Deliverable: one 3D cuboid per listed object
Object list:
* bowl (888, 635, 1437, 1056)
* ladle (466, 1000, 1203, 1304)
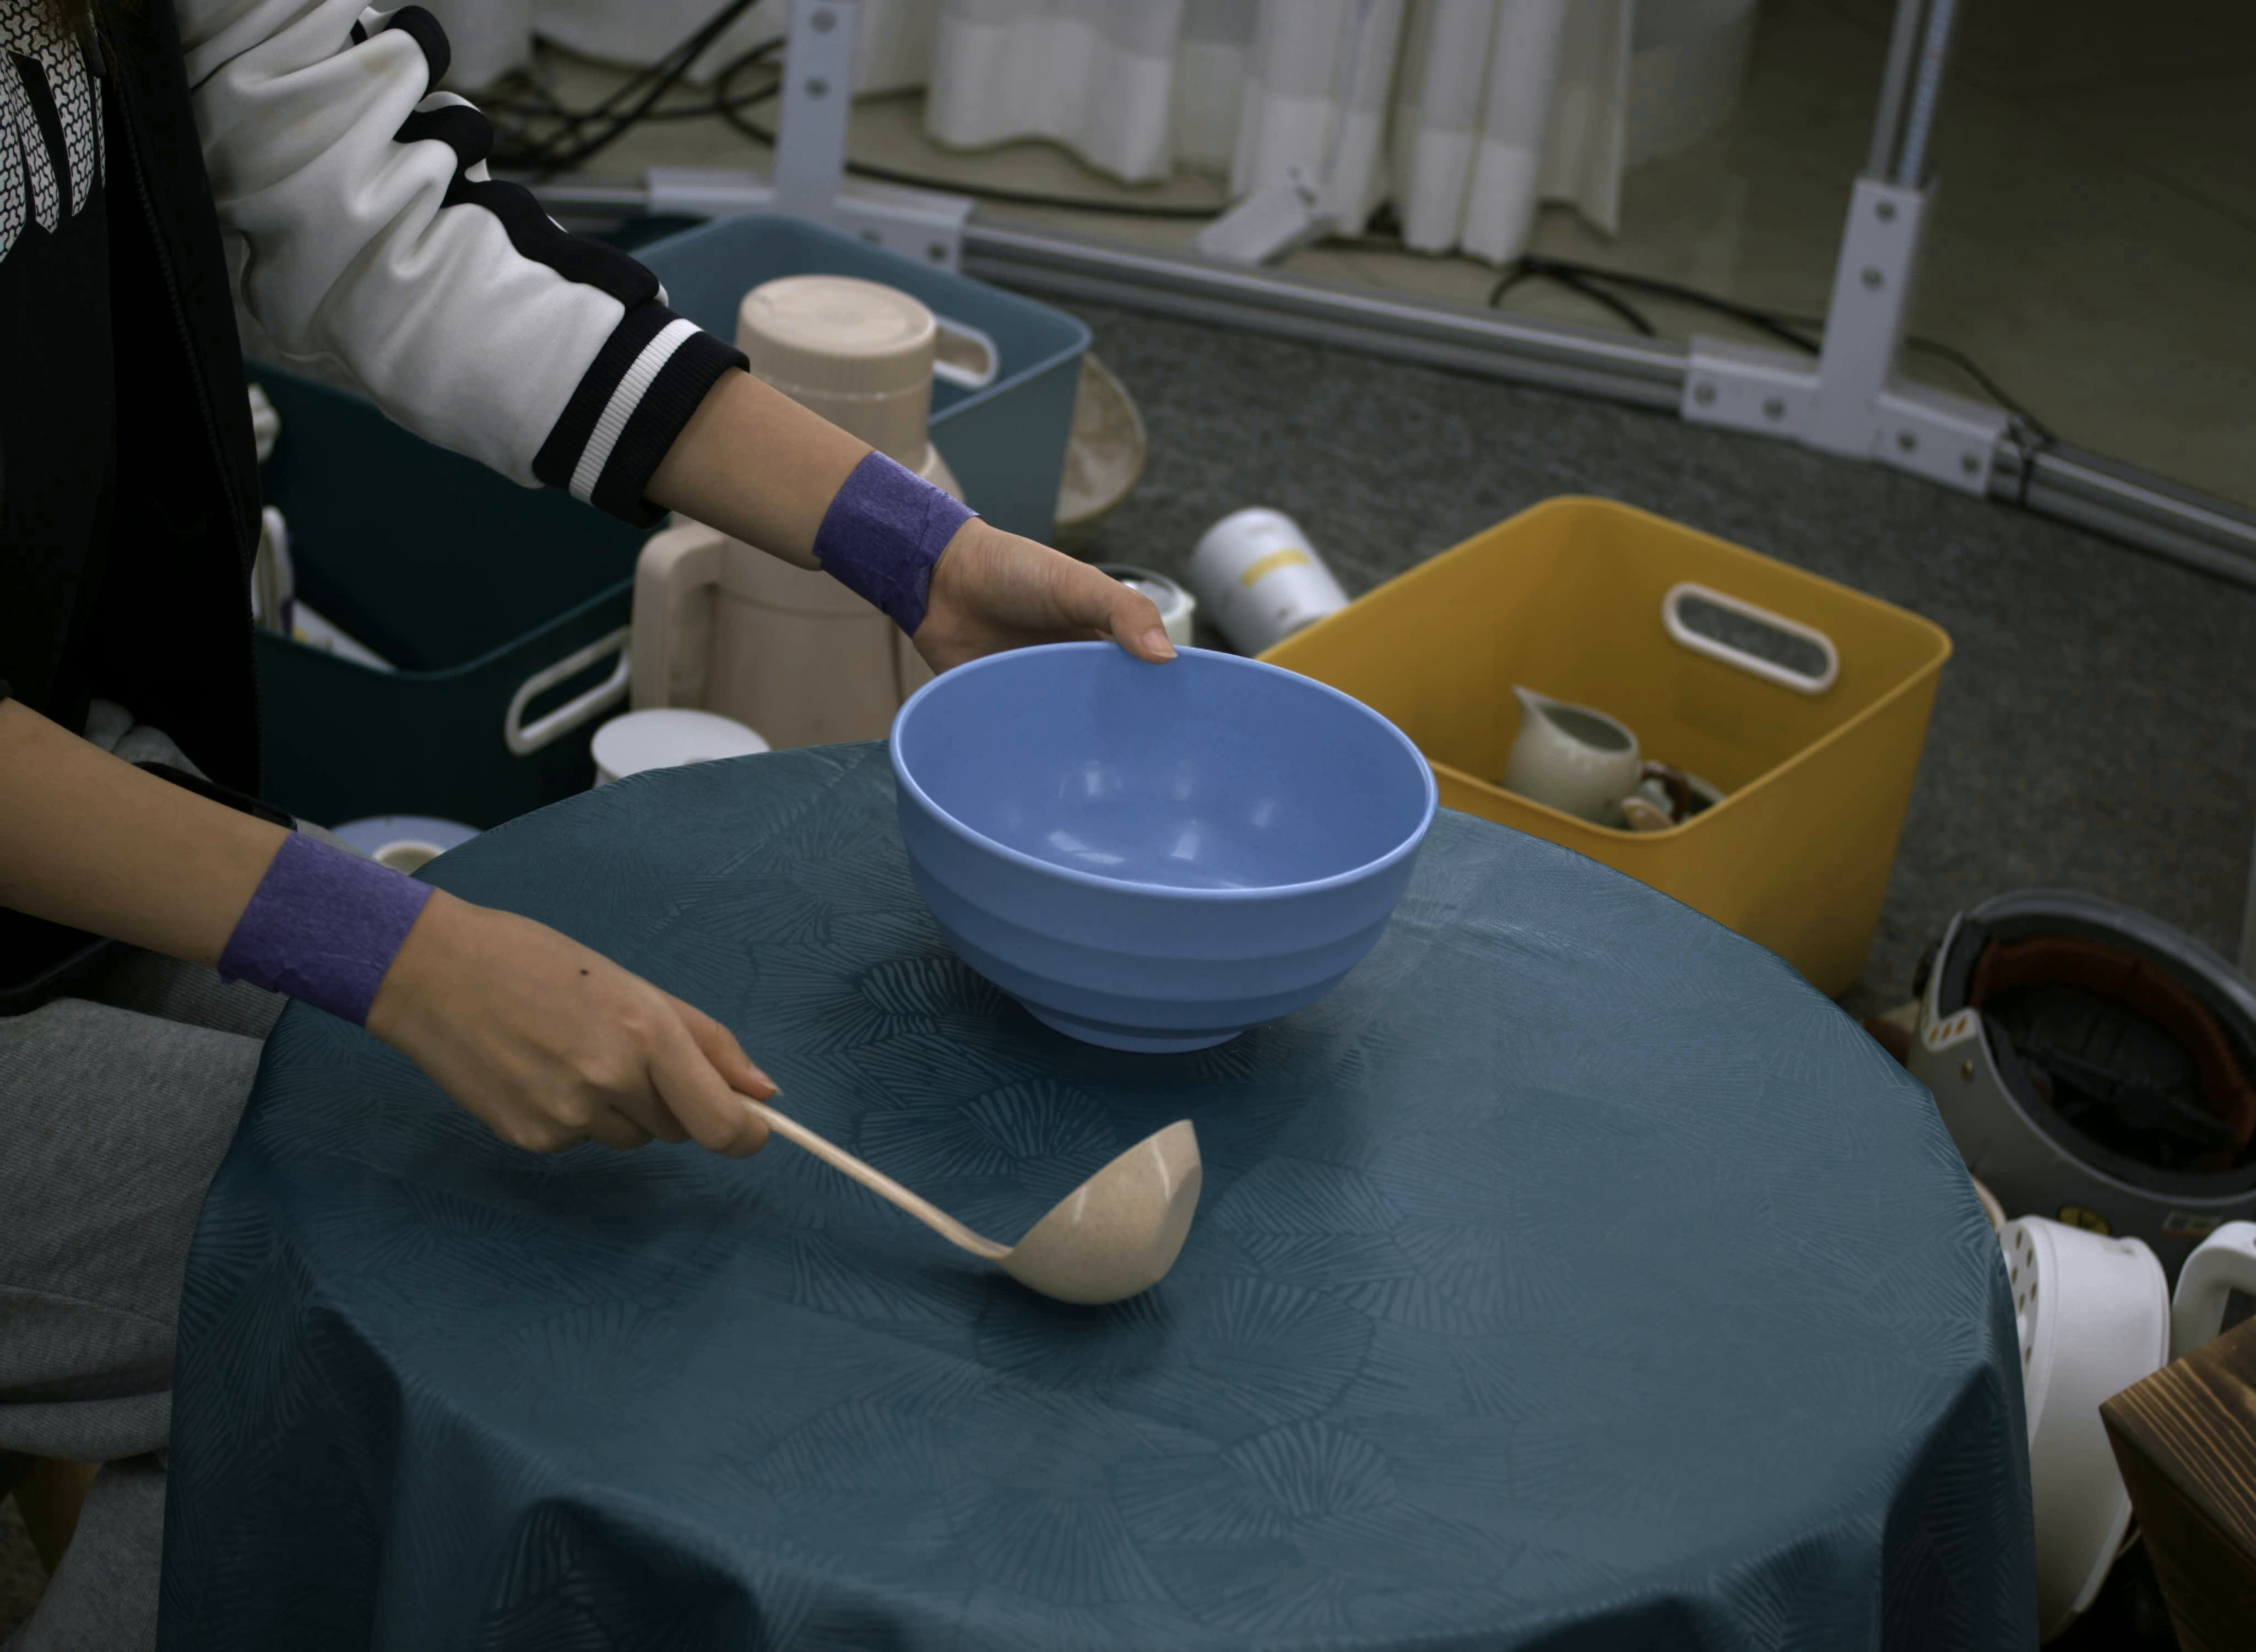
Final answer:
[{"bbox_3d":[0.008,0.019,1.908,0.196,0.095,0.198,5,29,-3],"label":"bowl"},{"bbox_3d":[-0.095,0.080,1.750,0.255,0.073,0.072,25,4,14],"label":"ladle"}]
